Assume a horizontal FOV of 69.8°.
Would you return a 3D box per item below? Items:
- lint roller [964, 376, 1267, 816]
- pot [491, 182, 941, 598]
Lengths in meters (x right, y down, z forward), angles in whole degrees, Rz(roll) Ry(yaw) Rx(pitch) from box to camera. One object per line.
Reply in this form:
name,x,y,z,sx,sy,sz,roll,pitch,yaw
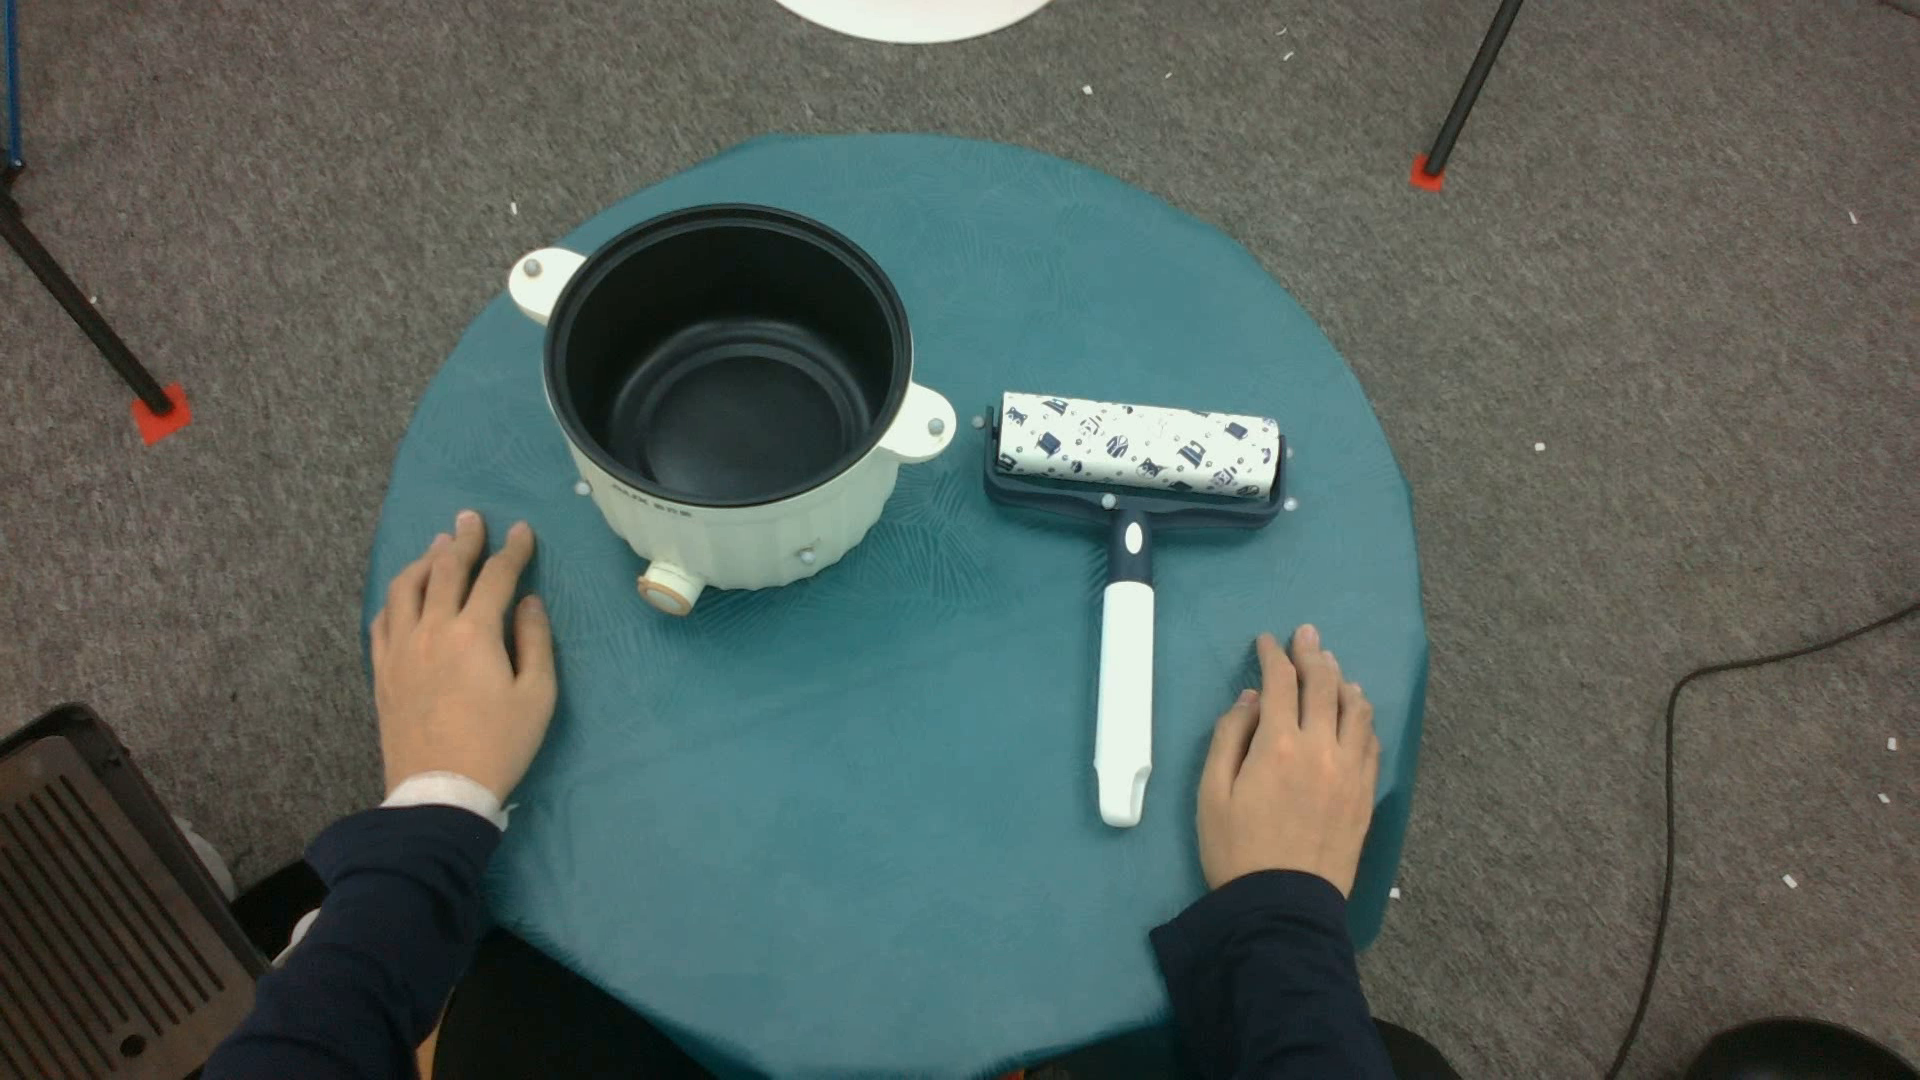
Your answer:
lint roller,0.085,0.028,0.765,0.176,0.050,0.248,6,66,-4
pot,-0.129,-0.073,0.739,0.240,0.142,0.191,21,61,6
